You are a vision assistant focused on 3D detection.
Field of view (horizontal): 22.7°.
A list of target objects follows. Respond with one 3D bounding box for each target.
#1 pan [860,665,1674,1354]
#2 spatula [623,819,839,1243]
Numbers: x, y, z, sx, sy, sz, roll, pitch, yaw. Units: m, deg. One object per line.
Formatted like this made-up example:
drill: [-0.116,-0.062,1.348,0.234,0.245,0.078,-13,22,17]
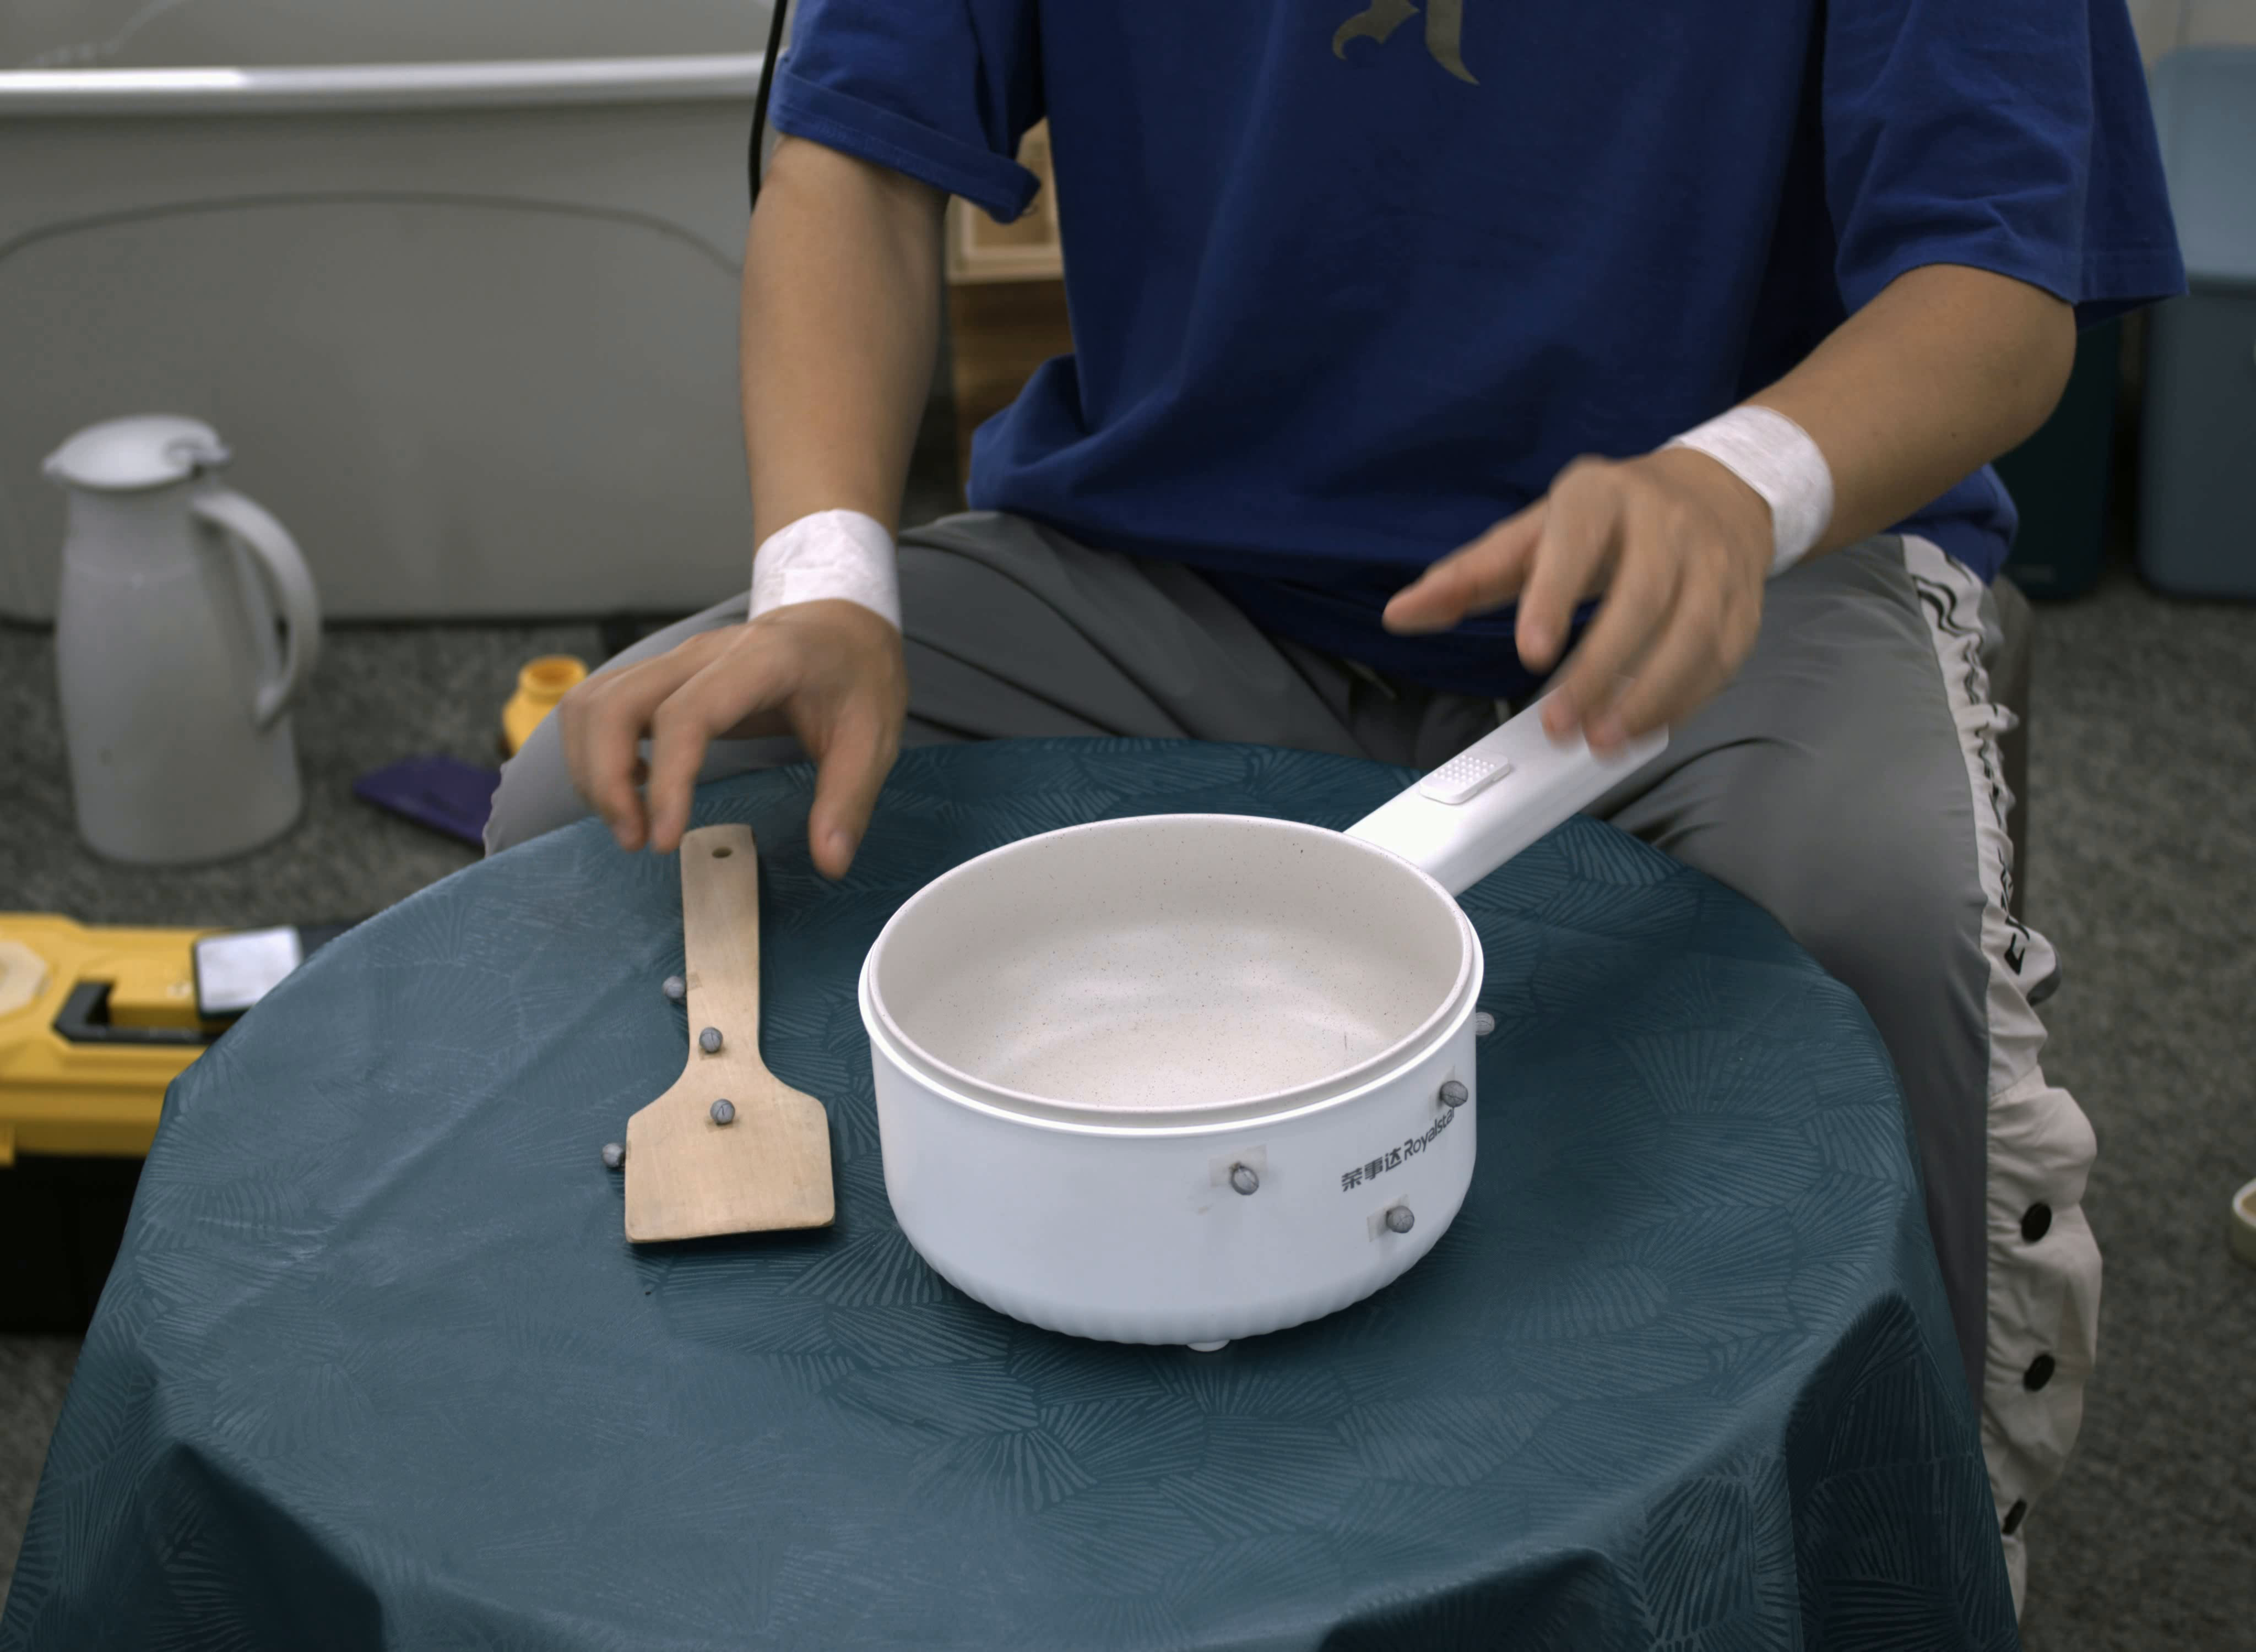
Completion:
pan: [0.065,0.057,1.875,0.200,0.101,0.360,16,33,36]
spatula: [-0.141,0.068,1.968,0.072,0.010,0.297,-6,28,-2]
